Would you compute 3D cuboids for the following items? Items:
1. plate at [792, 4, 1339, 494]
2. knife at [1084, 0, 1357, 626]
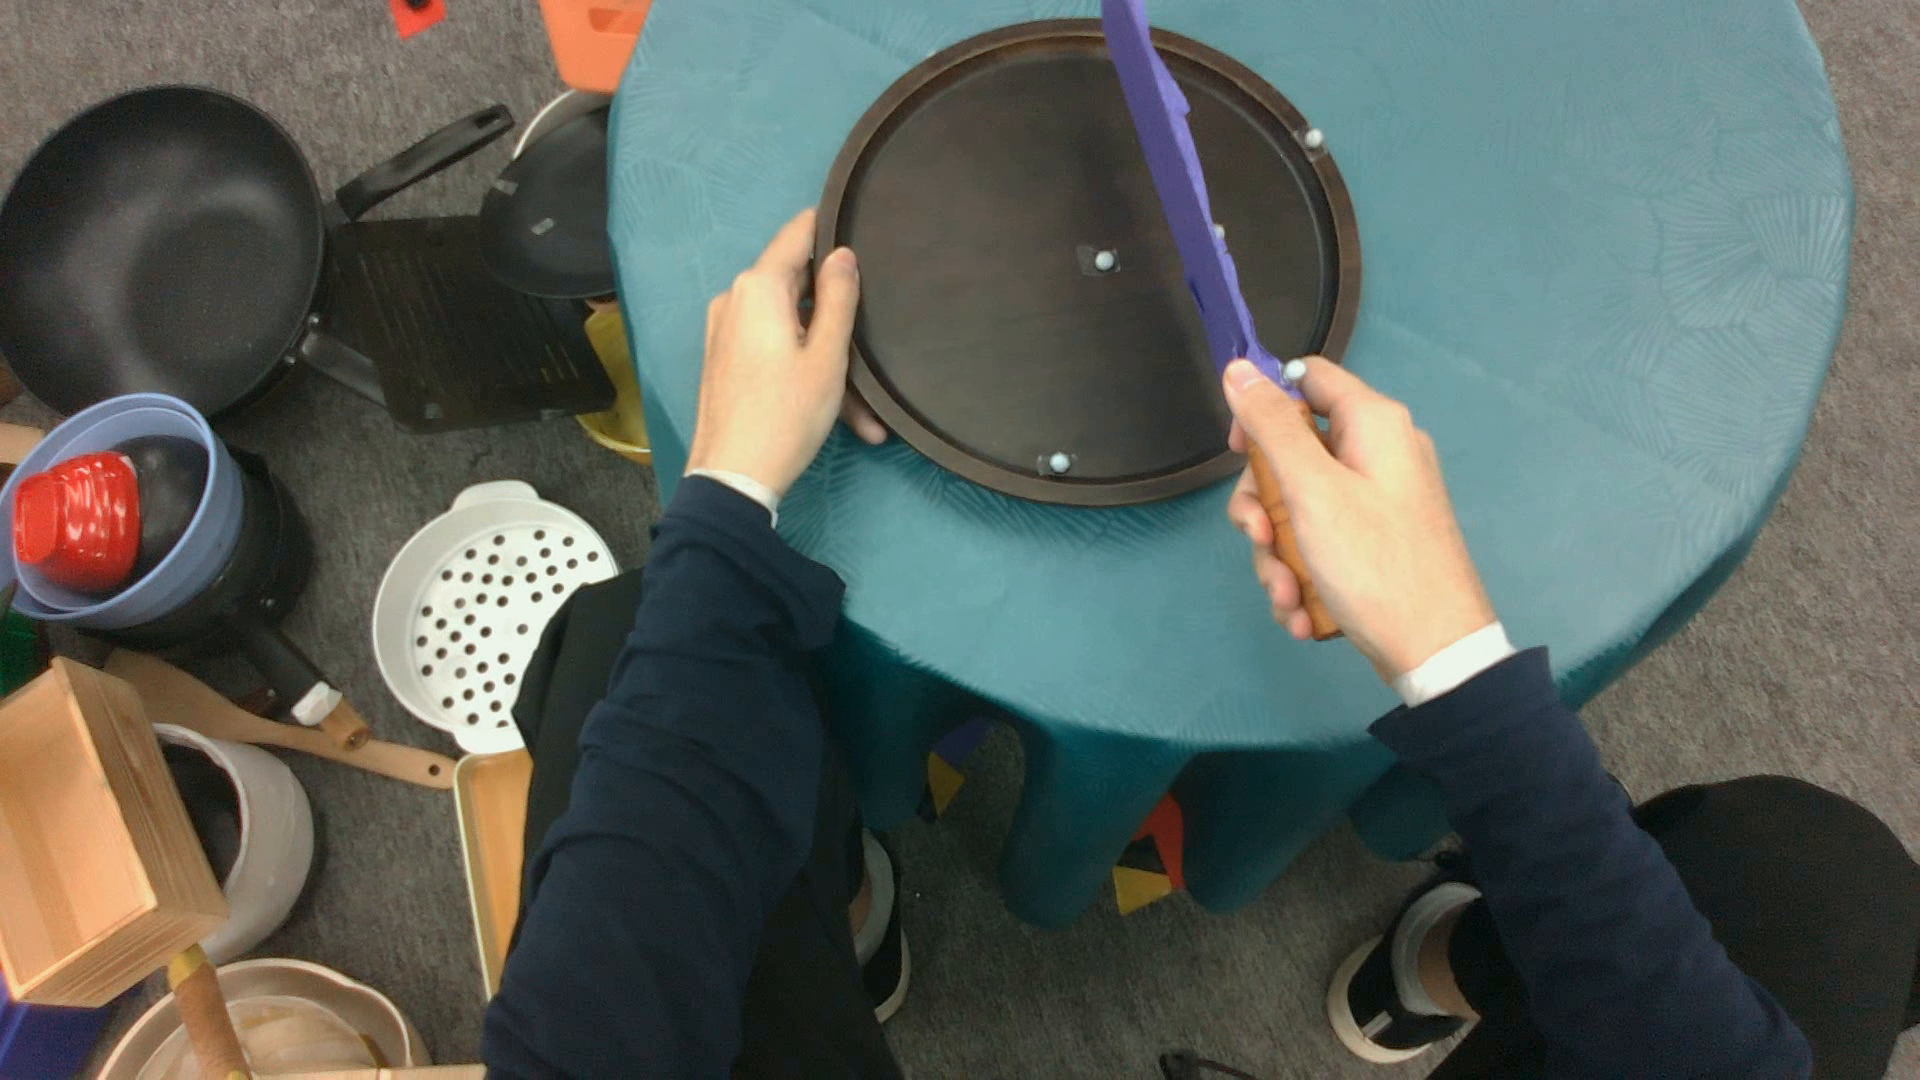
[{"bbox_3d":[0.049,-0.139,0.641,0.255,0.029,0.255,1,71,-2],"label":"plate"},{"bbox_3d":[0.100,-0.115,0.573,0.032,0.104,0.315,-15,78,5],"label":"knife"}]
